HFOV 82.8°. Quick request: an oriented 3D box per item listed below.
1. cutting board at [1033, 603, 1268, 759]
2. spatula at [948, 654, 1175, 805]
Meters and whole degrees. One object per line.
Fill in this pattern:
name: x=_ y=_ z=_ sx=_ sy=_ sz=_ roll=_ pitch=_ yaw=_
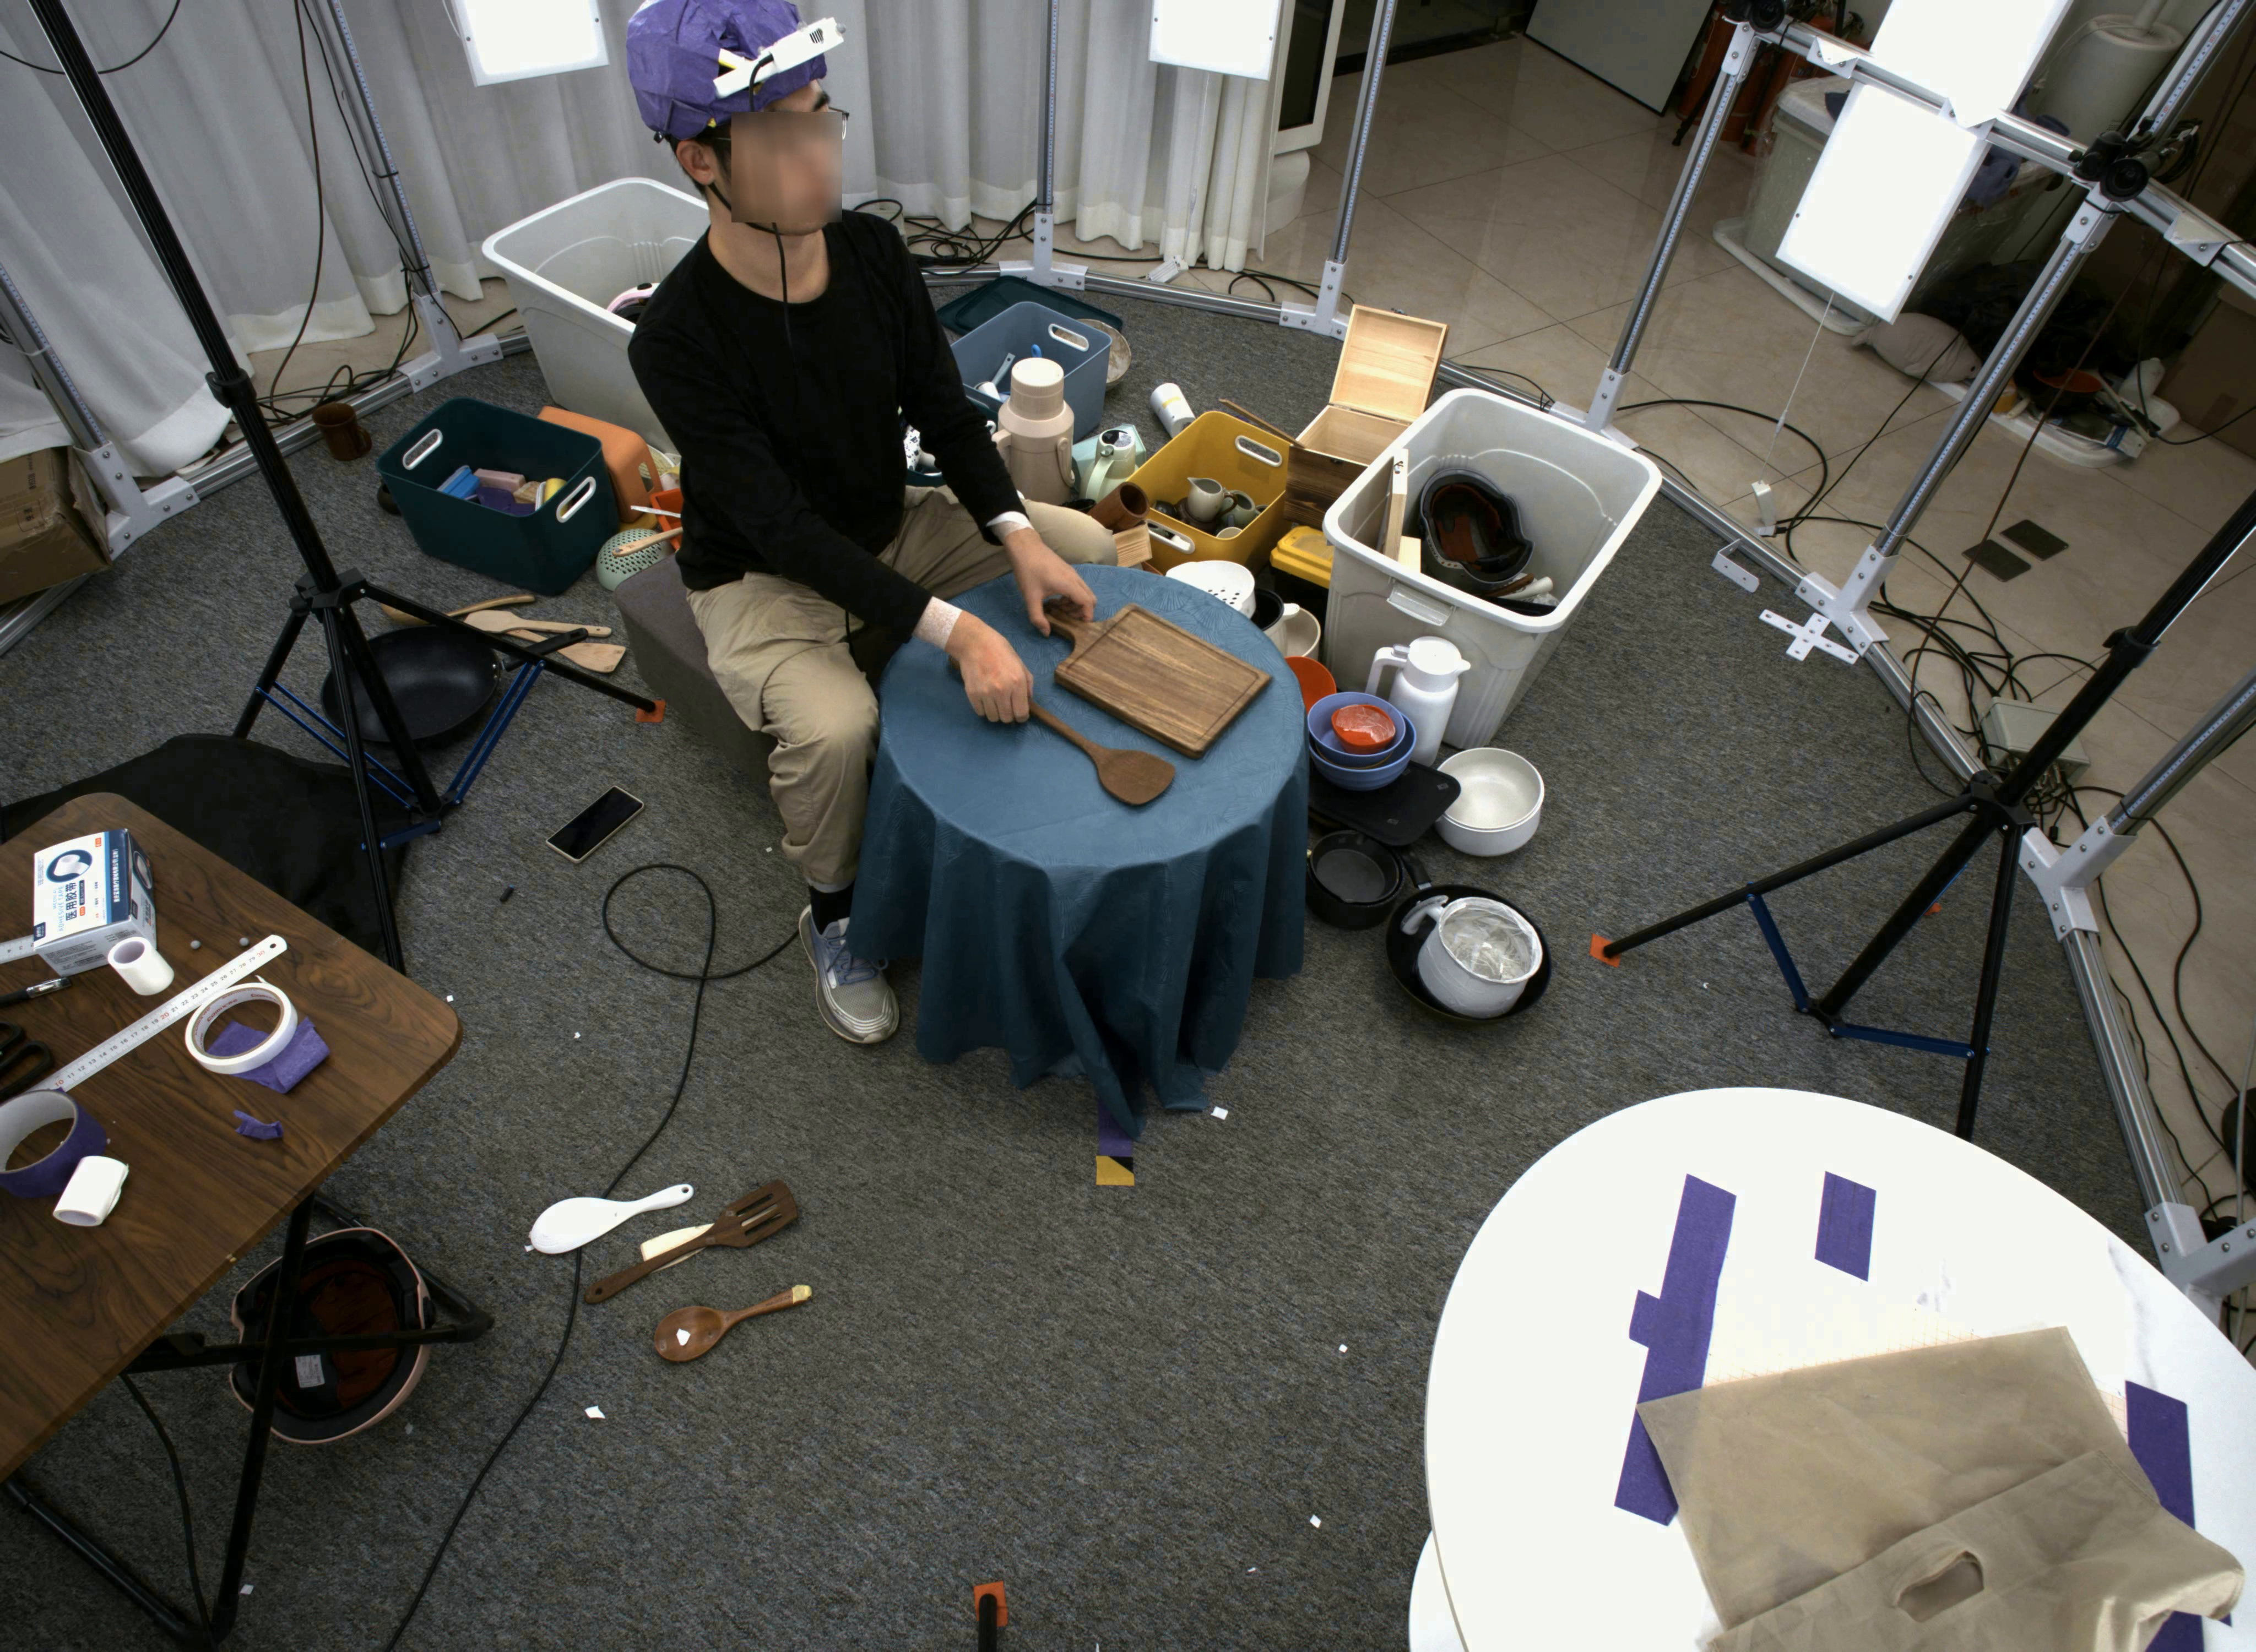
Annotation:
cutting board: x=0.008 y=-0.238 z=1.860 sx=0.356 sy=0.022 sz=0.204 roll=30 pitch=53 yaw=20
spatula: x=-0.105 y=-0.144 z=1.775 sx=0.390 sy=0.015 sz=0.097 roll=34 pitch=55 yaw=22
